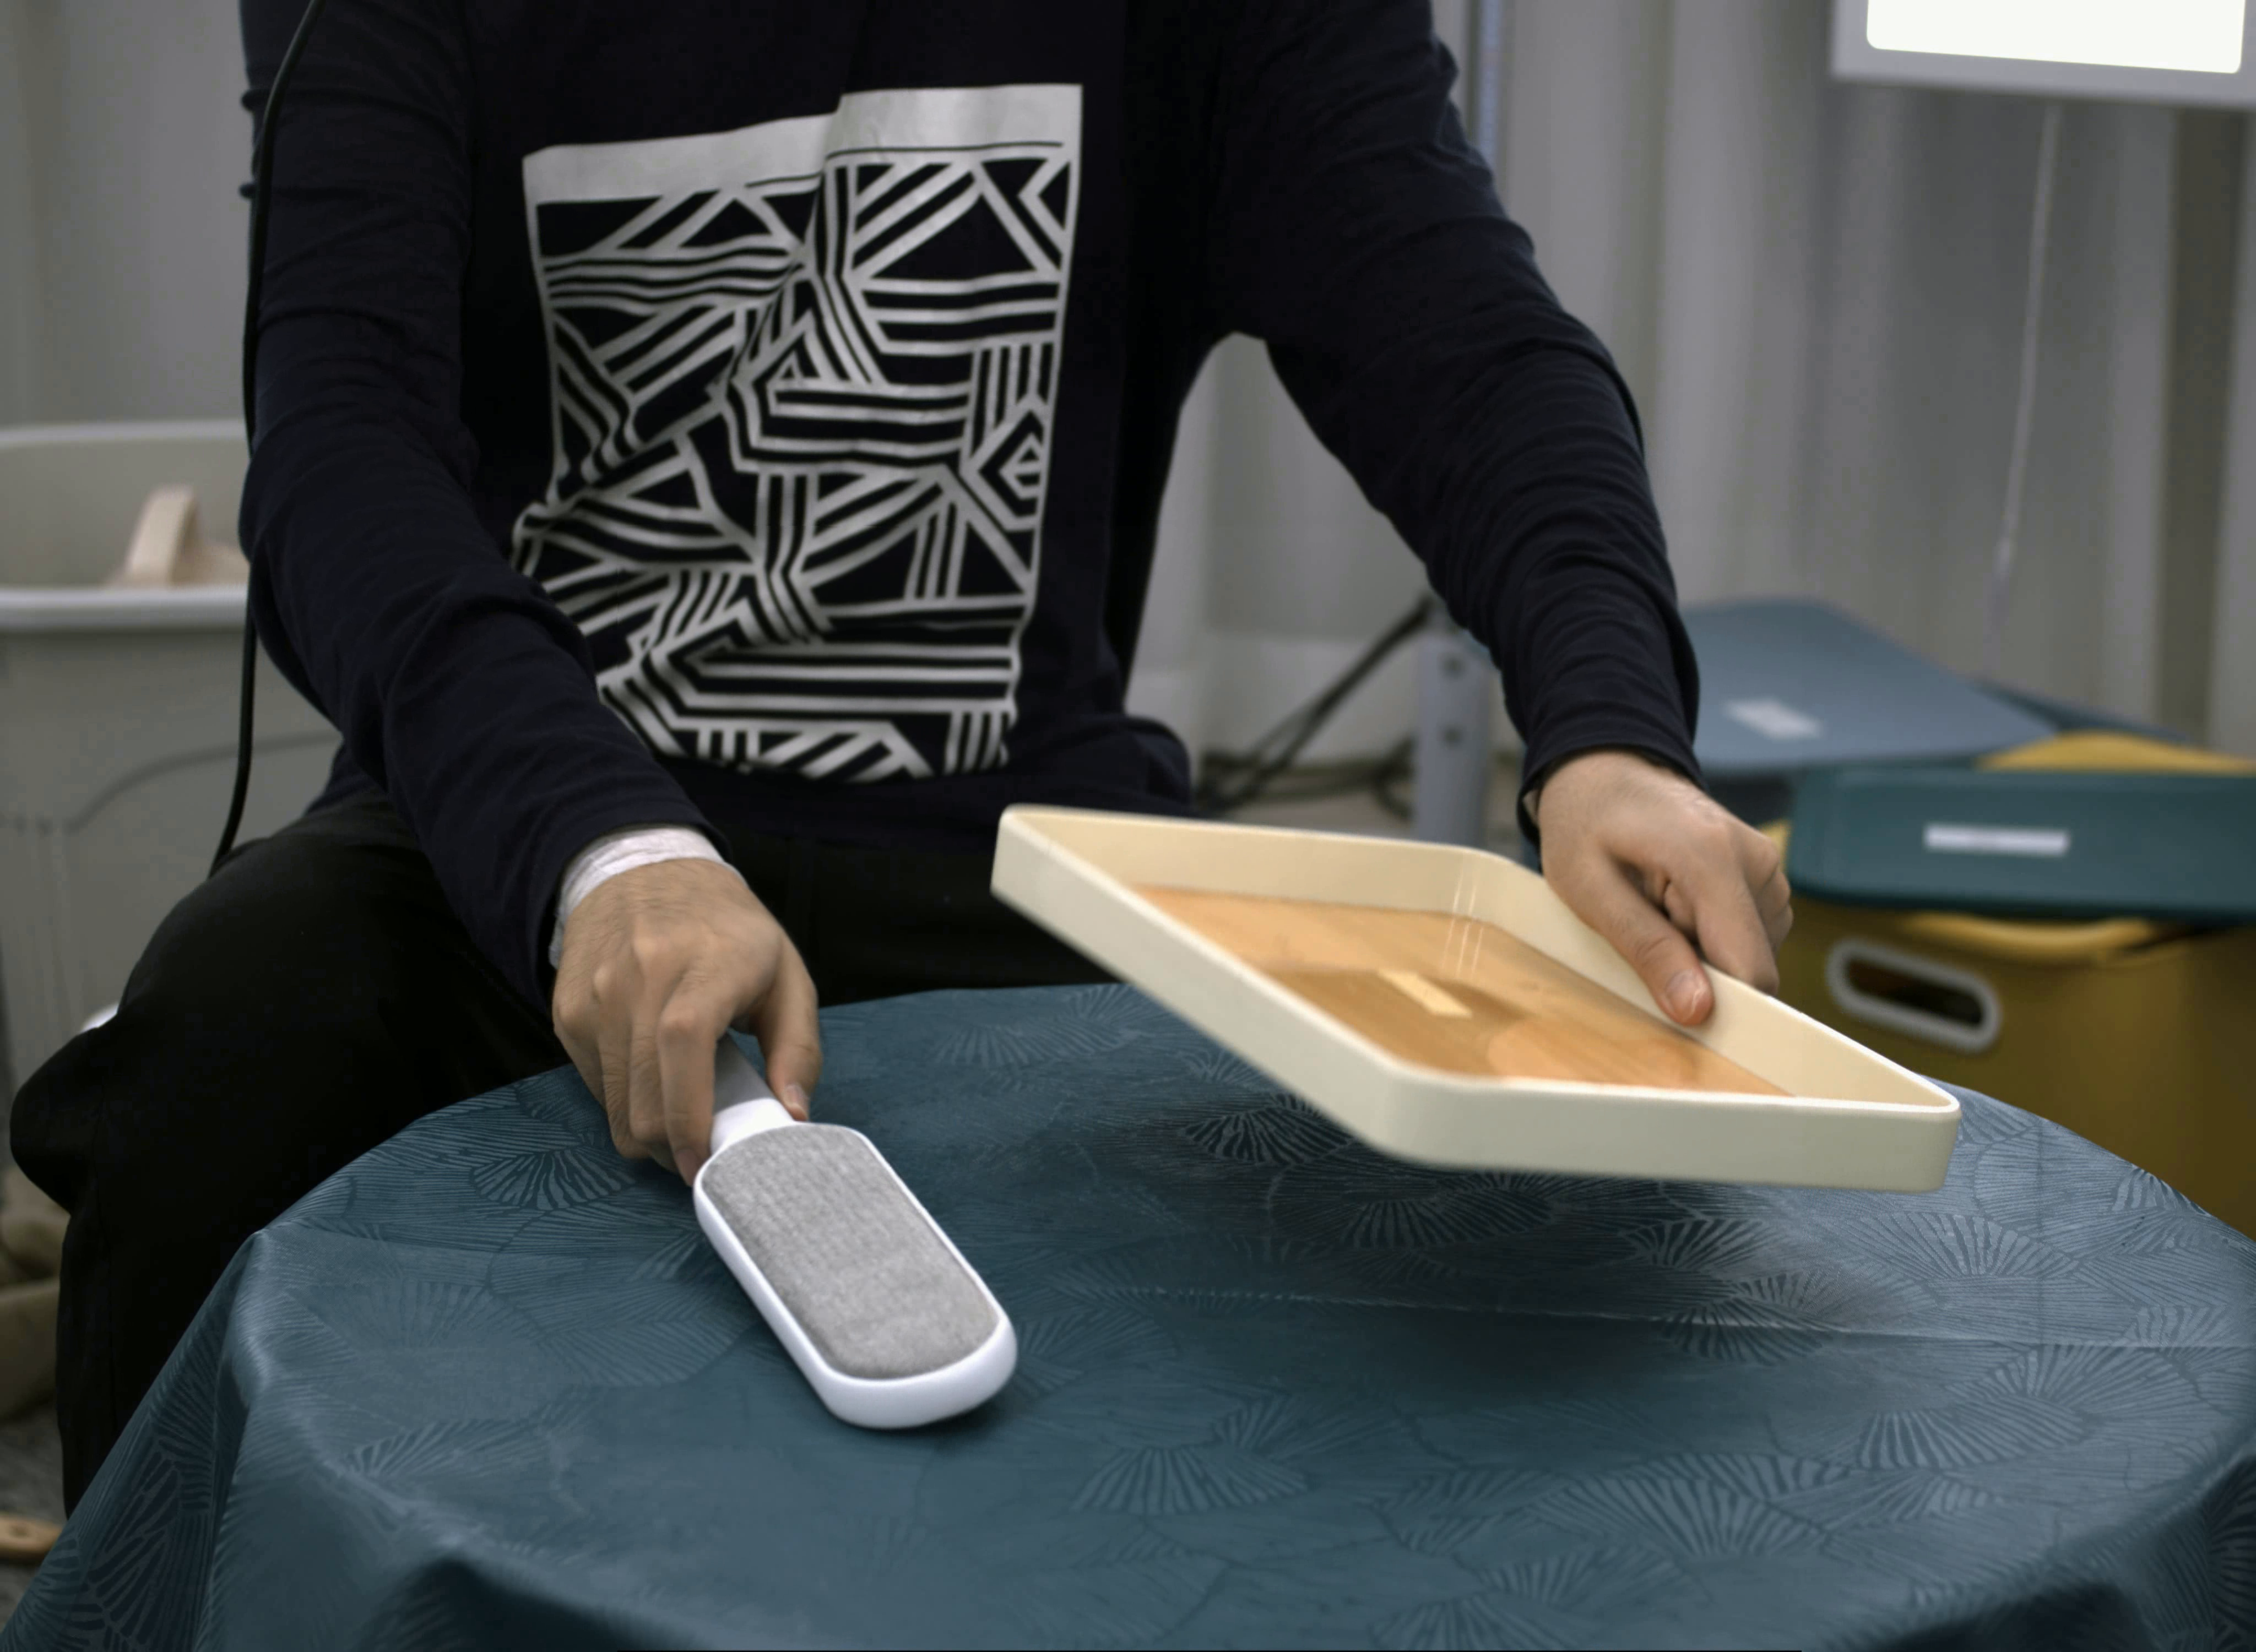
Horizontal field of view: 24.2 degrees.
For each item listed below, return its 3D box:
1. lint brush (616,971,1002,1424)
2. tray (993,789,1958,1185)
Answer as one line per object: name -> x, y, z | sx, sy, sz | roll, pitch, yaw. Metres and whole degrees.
lint brush -> -0.102, 0.103, 1.556 | 0.060, 0.021, 0.305 | -24, 26, -11
tray -> 0.097, 0.046, 1.587 | 0.193, 0.027, 0.297 | 8, 11, -26
